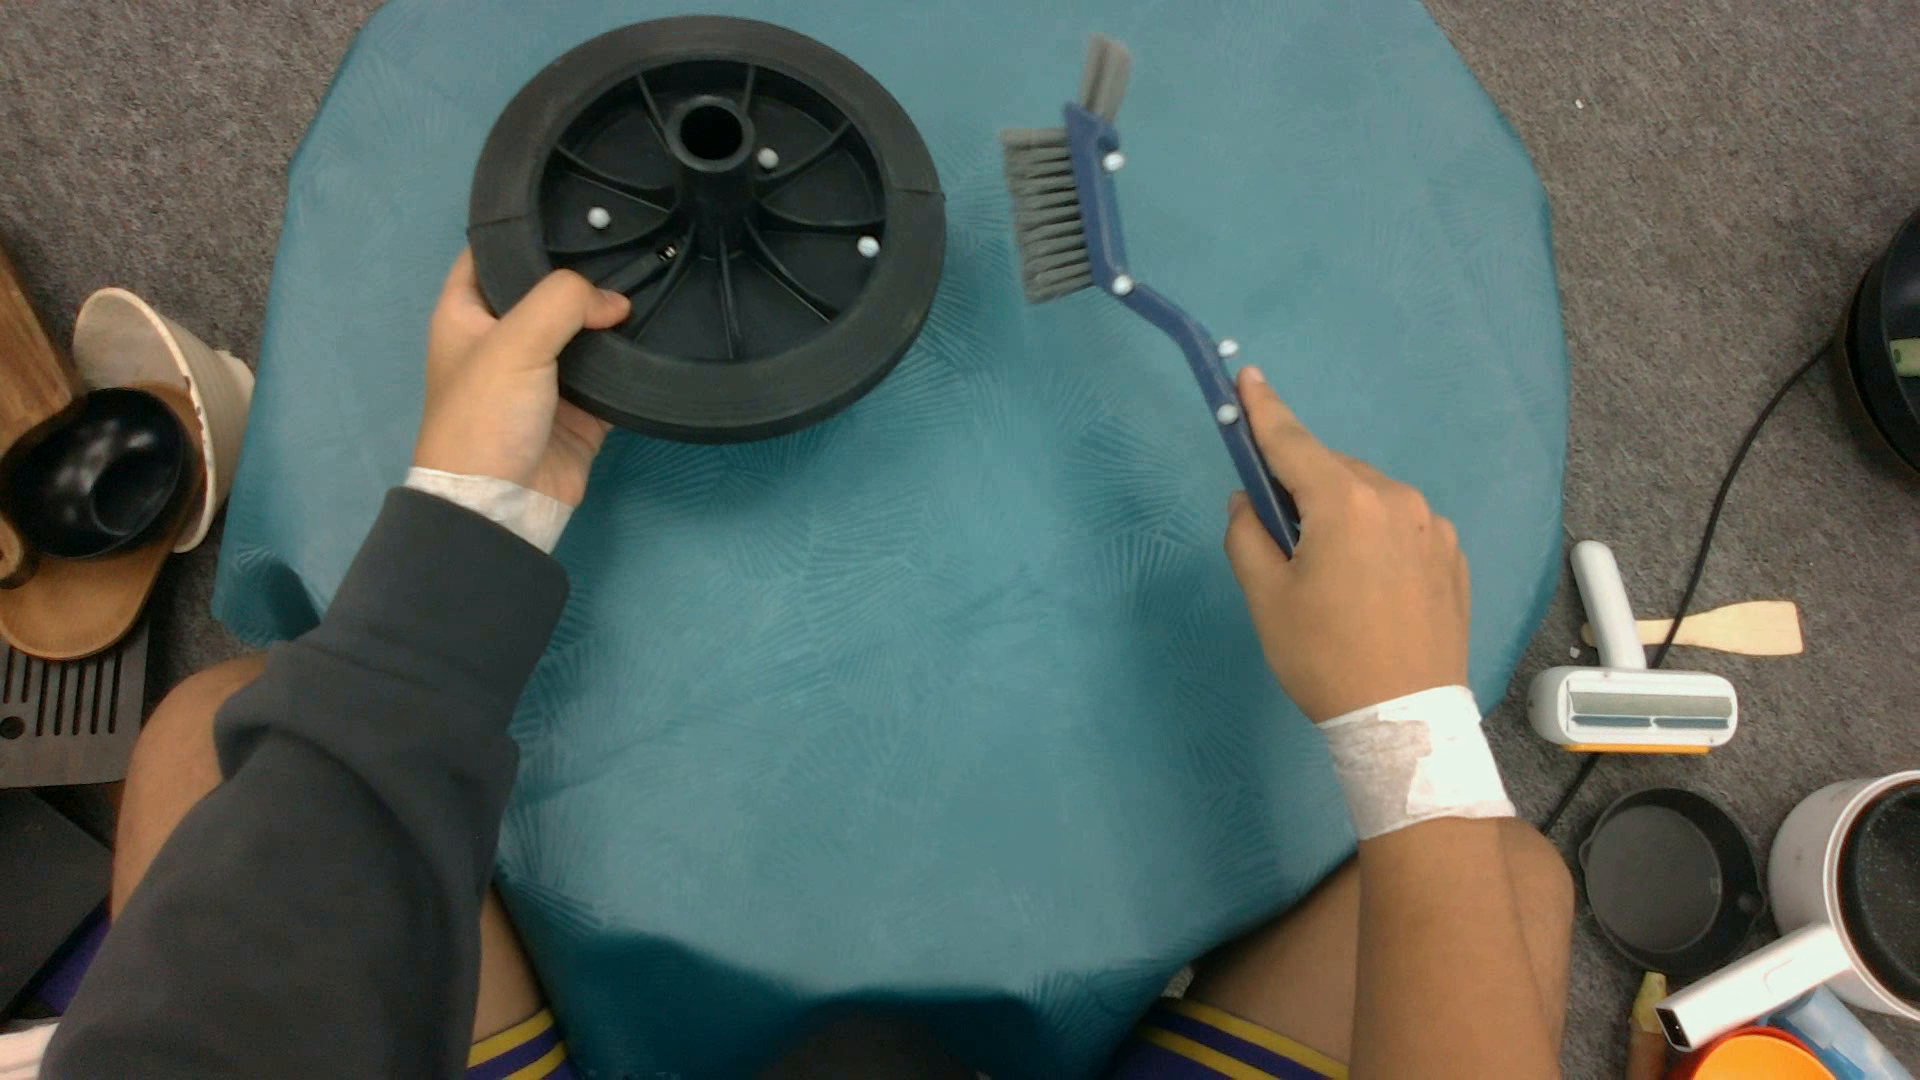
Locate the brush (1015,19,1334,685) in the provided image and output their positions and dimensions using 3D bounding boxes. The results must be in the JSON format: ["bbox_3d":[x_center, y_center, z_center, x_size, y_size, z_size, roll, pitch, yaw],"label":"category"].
[{"bbox_3d":[0.102,-0.075,0.557,0.095,0.033,0.273,-33,81,13],"label":"brush"}]

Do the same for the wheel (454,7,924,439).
[{"bbox_3d":[-0.105,-0.138,0.541,0.187,0.079,0.190,26,71,-1],"label":"wheel"}]
